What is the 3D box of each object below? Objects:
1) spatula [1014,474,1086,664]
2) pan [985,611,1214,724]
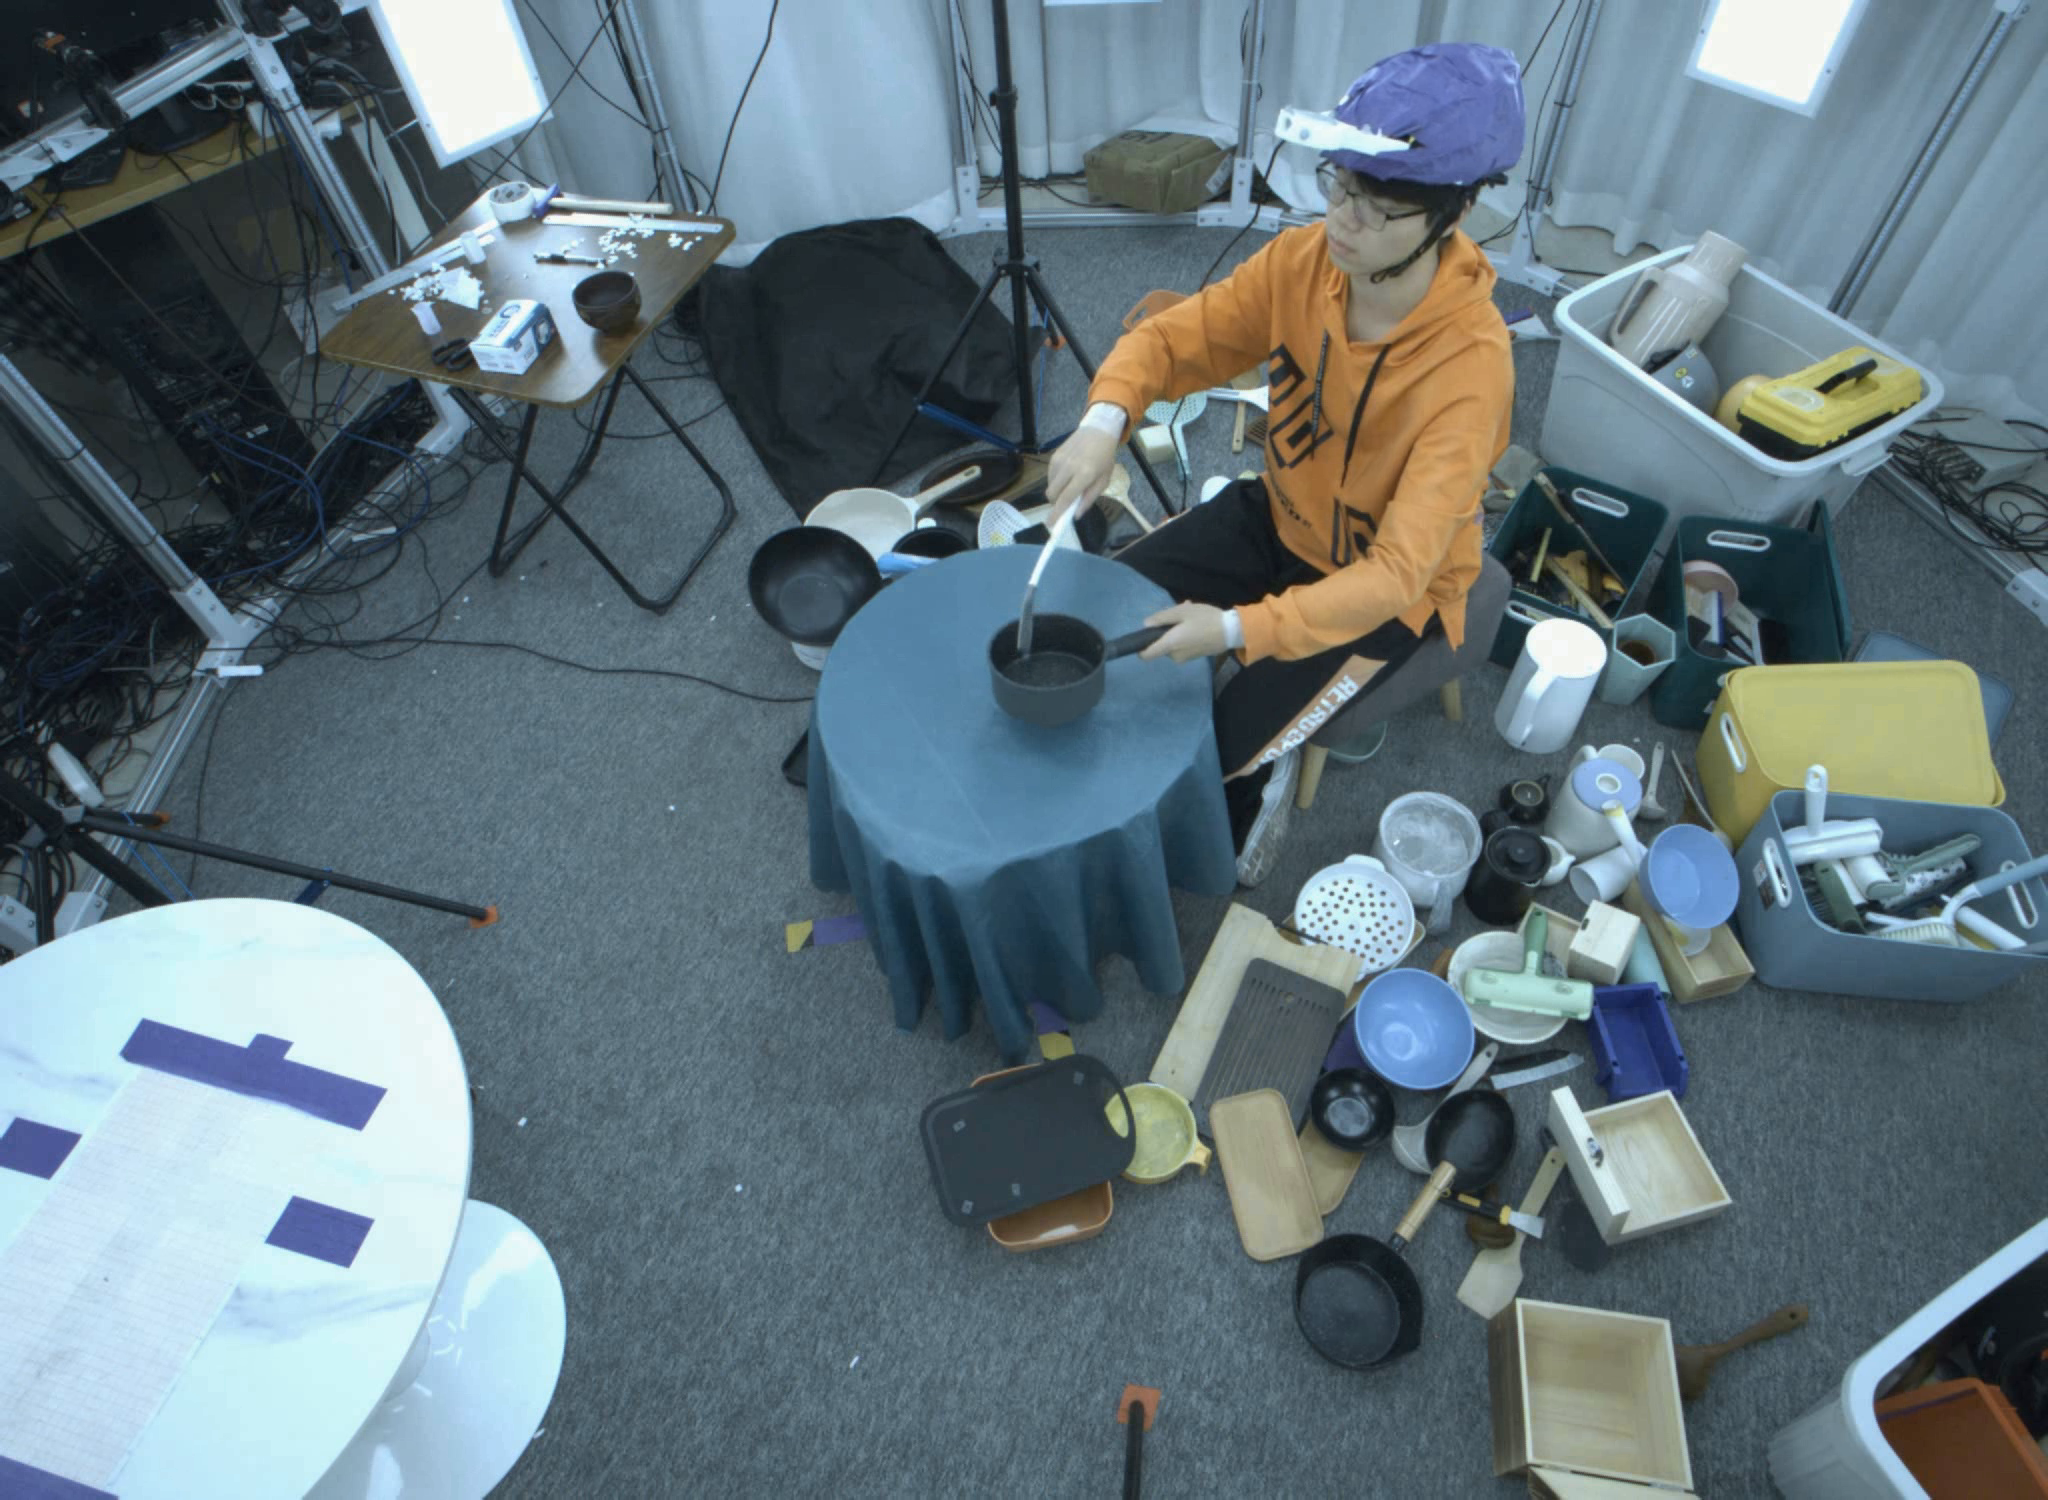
[{"bbox_3d":[0.031,-0.261,1.747,0.032,0.059,0.287,14,78,18],"label":"spatula"},{"bbox_3d":[0.111,-0.133,1.768,0.330,0.087,0.169,-10,47,-6],"label":"pan"}]
